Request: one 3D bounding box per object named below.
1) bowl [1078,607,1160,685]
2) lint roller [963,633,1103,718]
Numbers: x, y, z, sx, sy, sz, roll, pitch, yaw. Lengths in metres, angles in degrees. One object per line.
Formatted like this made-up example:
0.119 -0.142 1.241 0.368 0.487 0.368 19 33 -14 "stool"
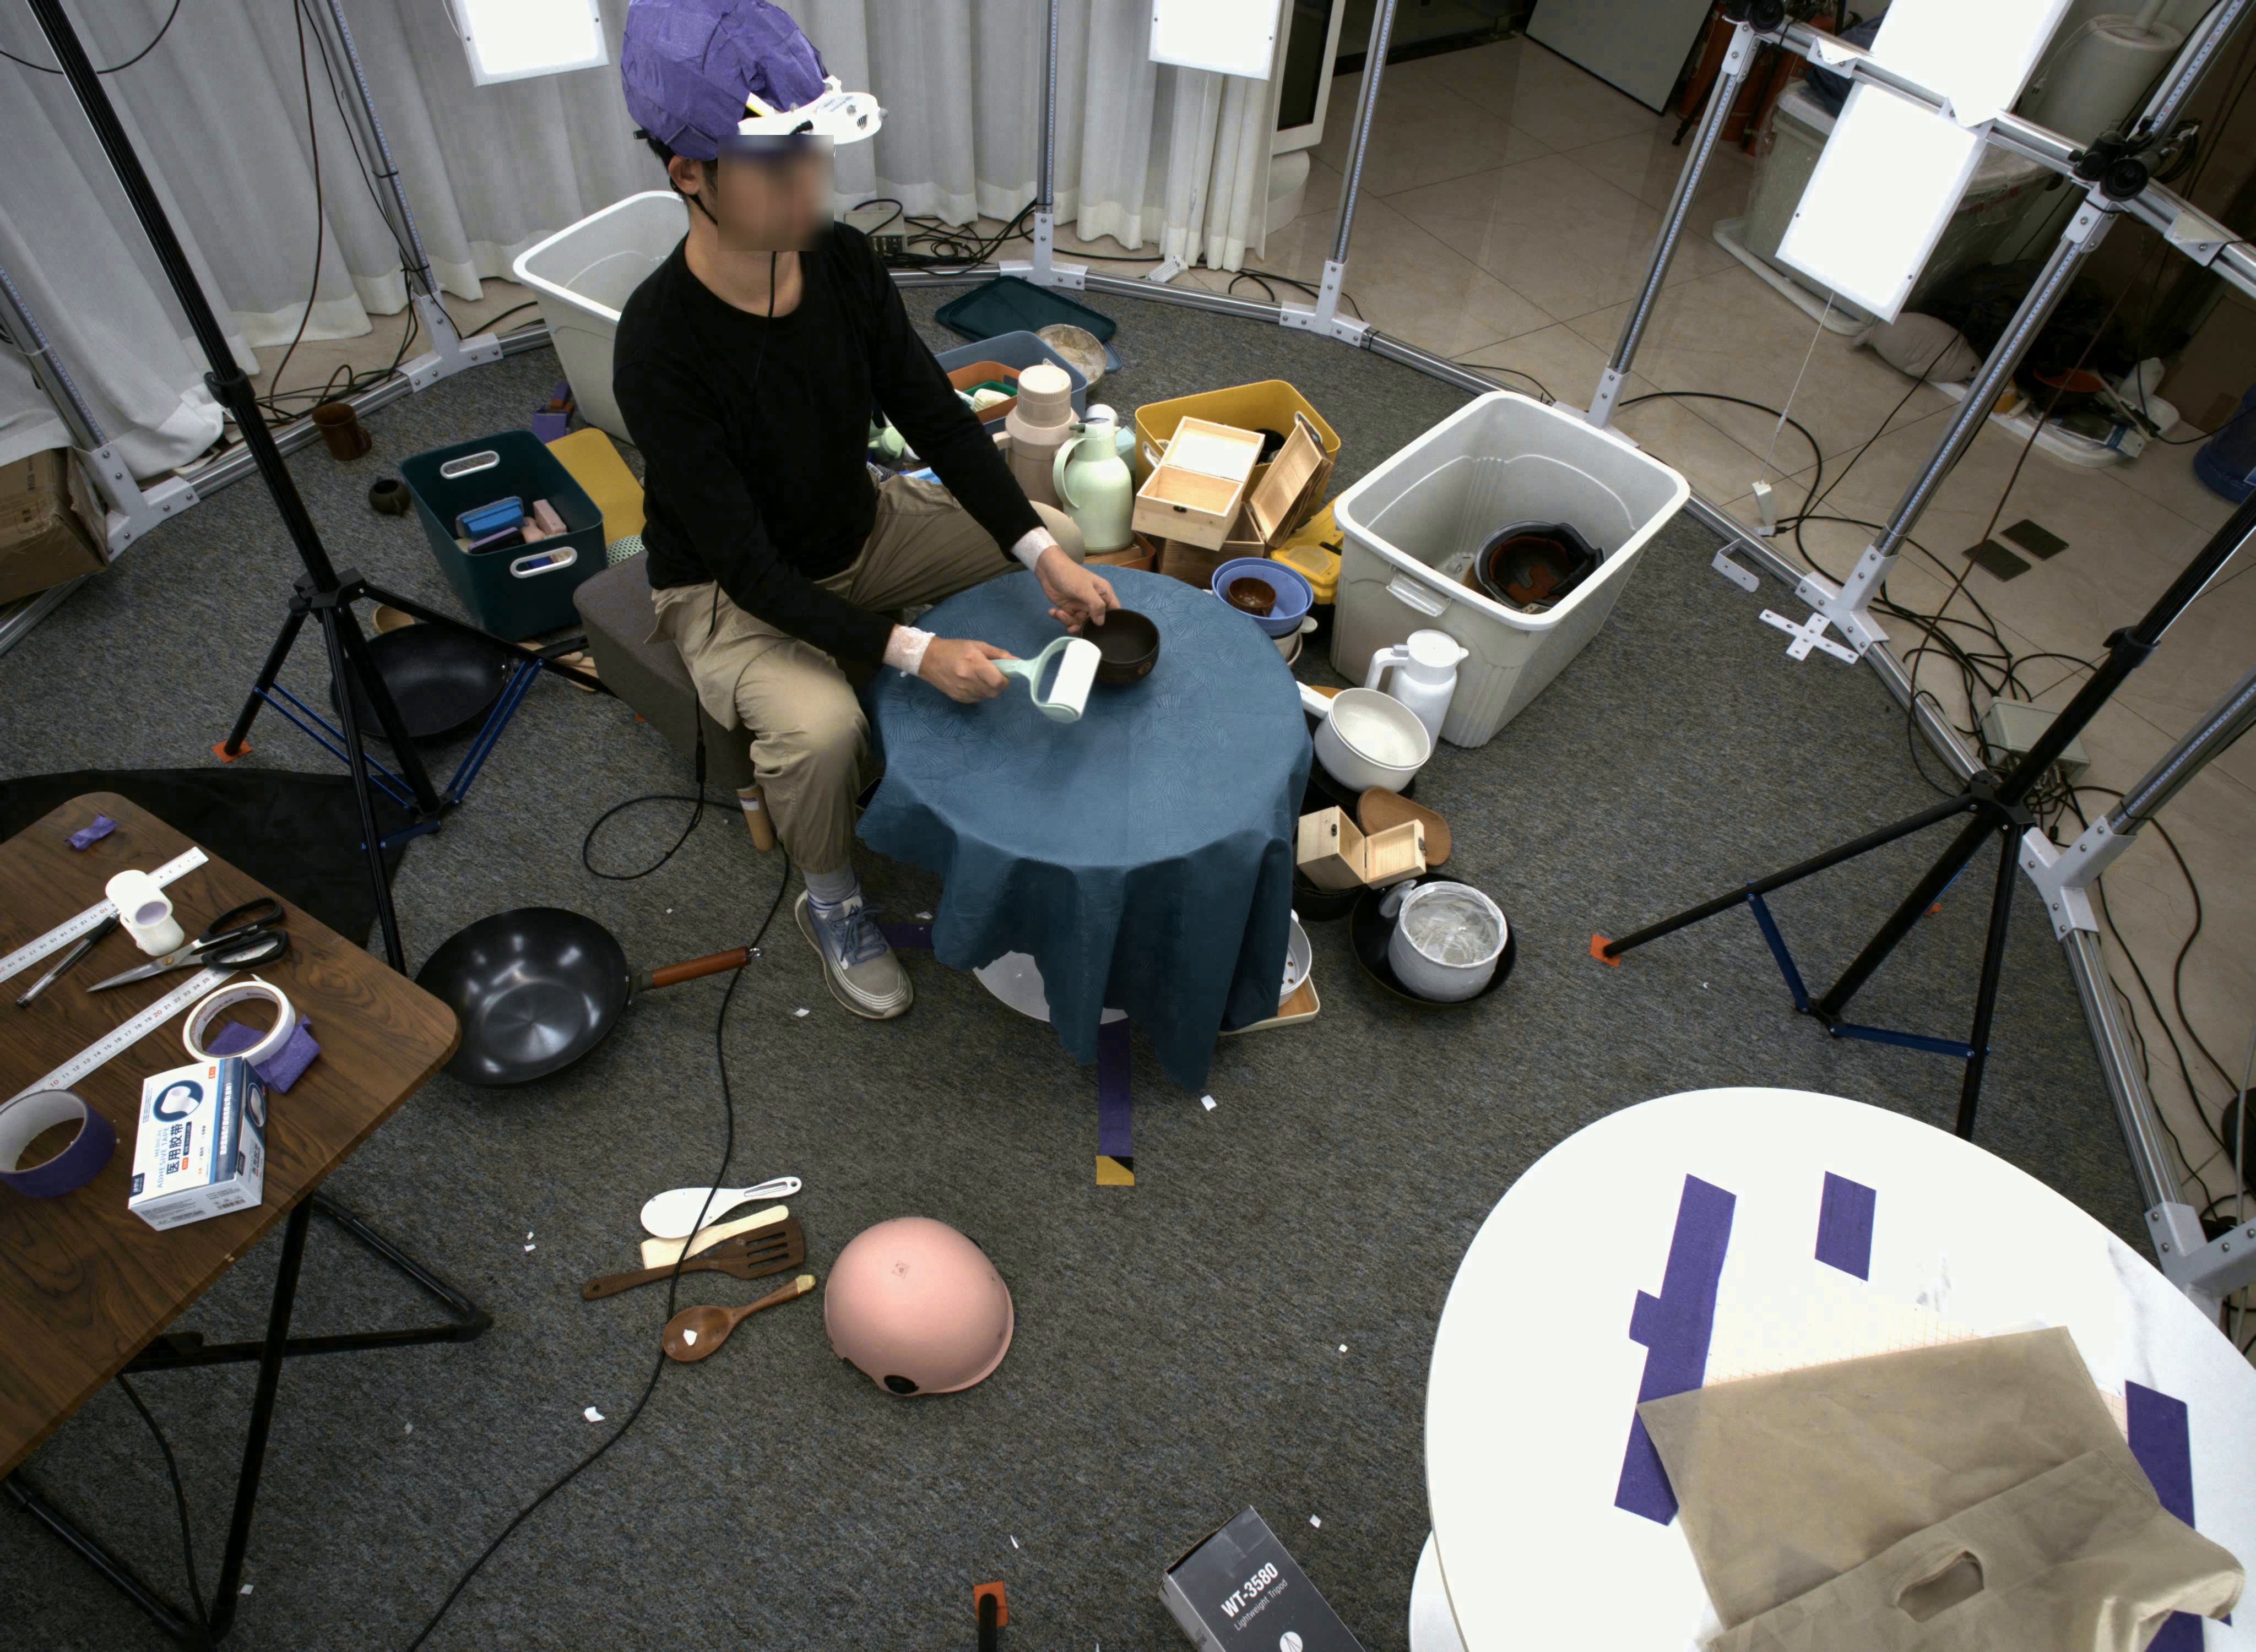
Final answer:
-0.014 -0.249 1.839 0.118 0.068 0.121 1 49 -2 "bowl"
-0.137 -0.211 1.745 0.198 0.047 0.119 8 64 18 "lint roller"
